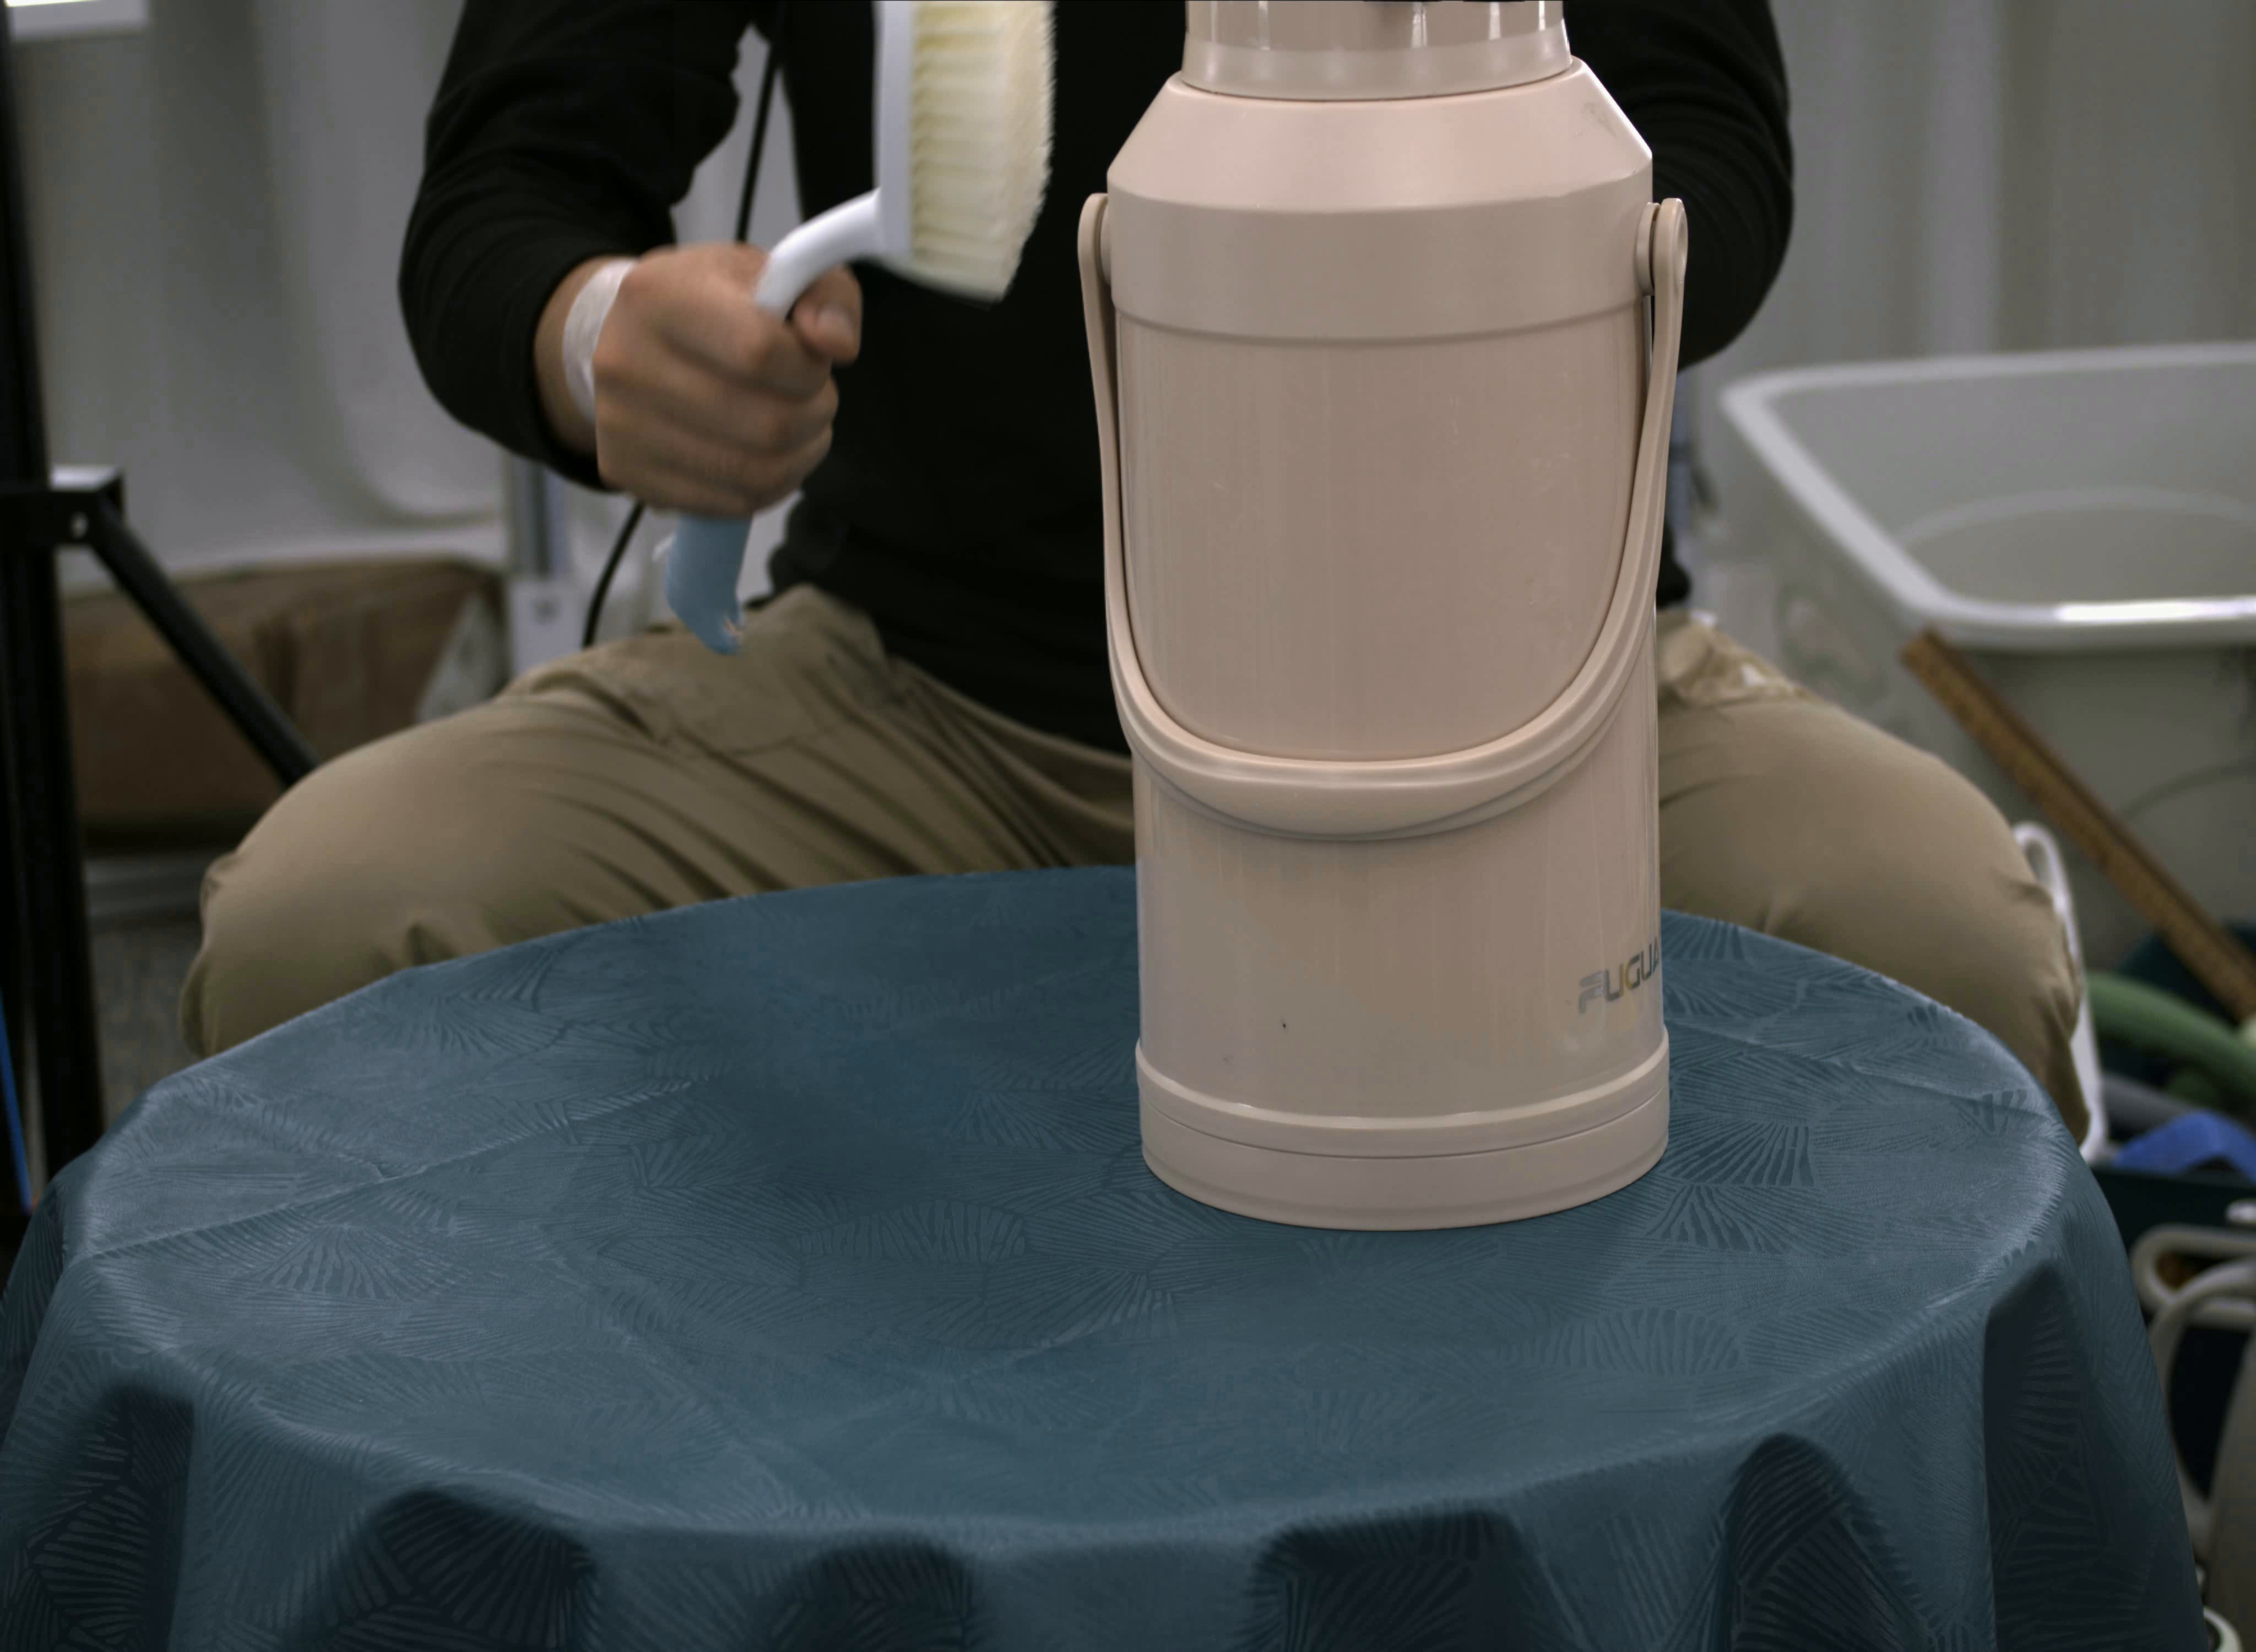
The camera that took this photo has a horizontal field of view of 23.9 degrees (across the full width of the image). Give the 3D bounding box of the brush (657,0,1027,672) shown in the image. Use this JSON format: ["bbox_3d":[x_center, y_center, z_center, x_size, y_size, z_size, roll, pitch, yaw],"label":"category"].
[{"bbox_3d":[-0.074,-0.154,1.660,0.081,0.326,0.086,-29,63,-33],"label":"brush"}]

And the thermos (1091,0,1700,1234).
[{"bbox_3d":[0.084,-0.100,1.551,0.177,0.406,0.205,1,15,17],"label":"thermos"}]
